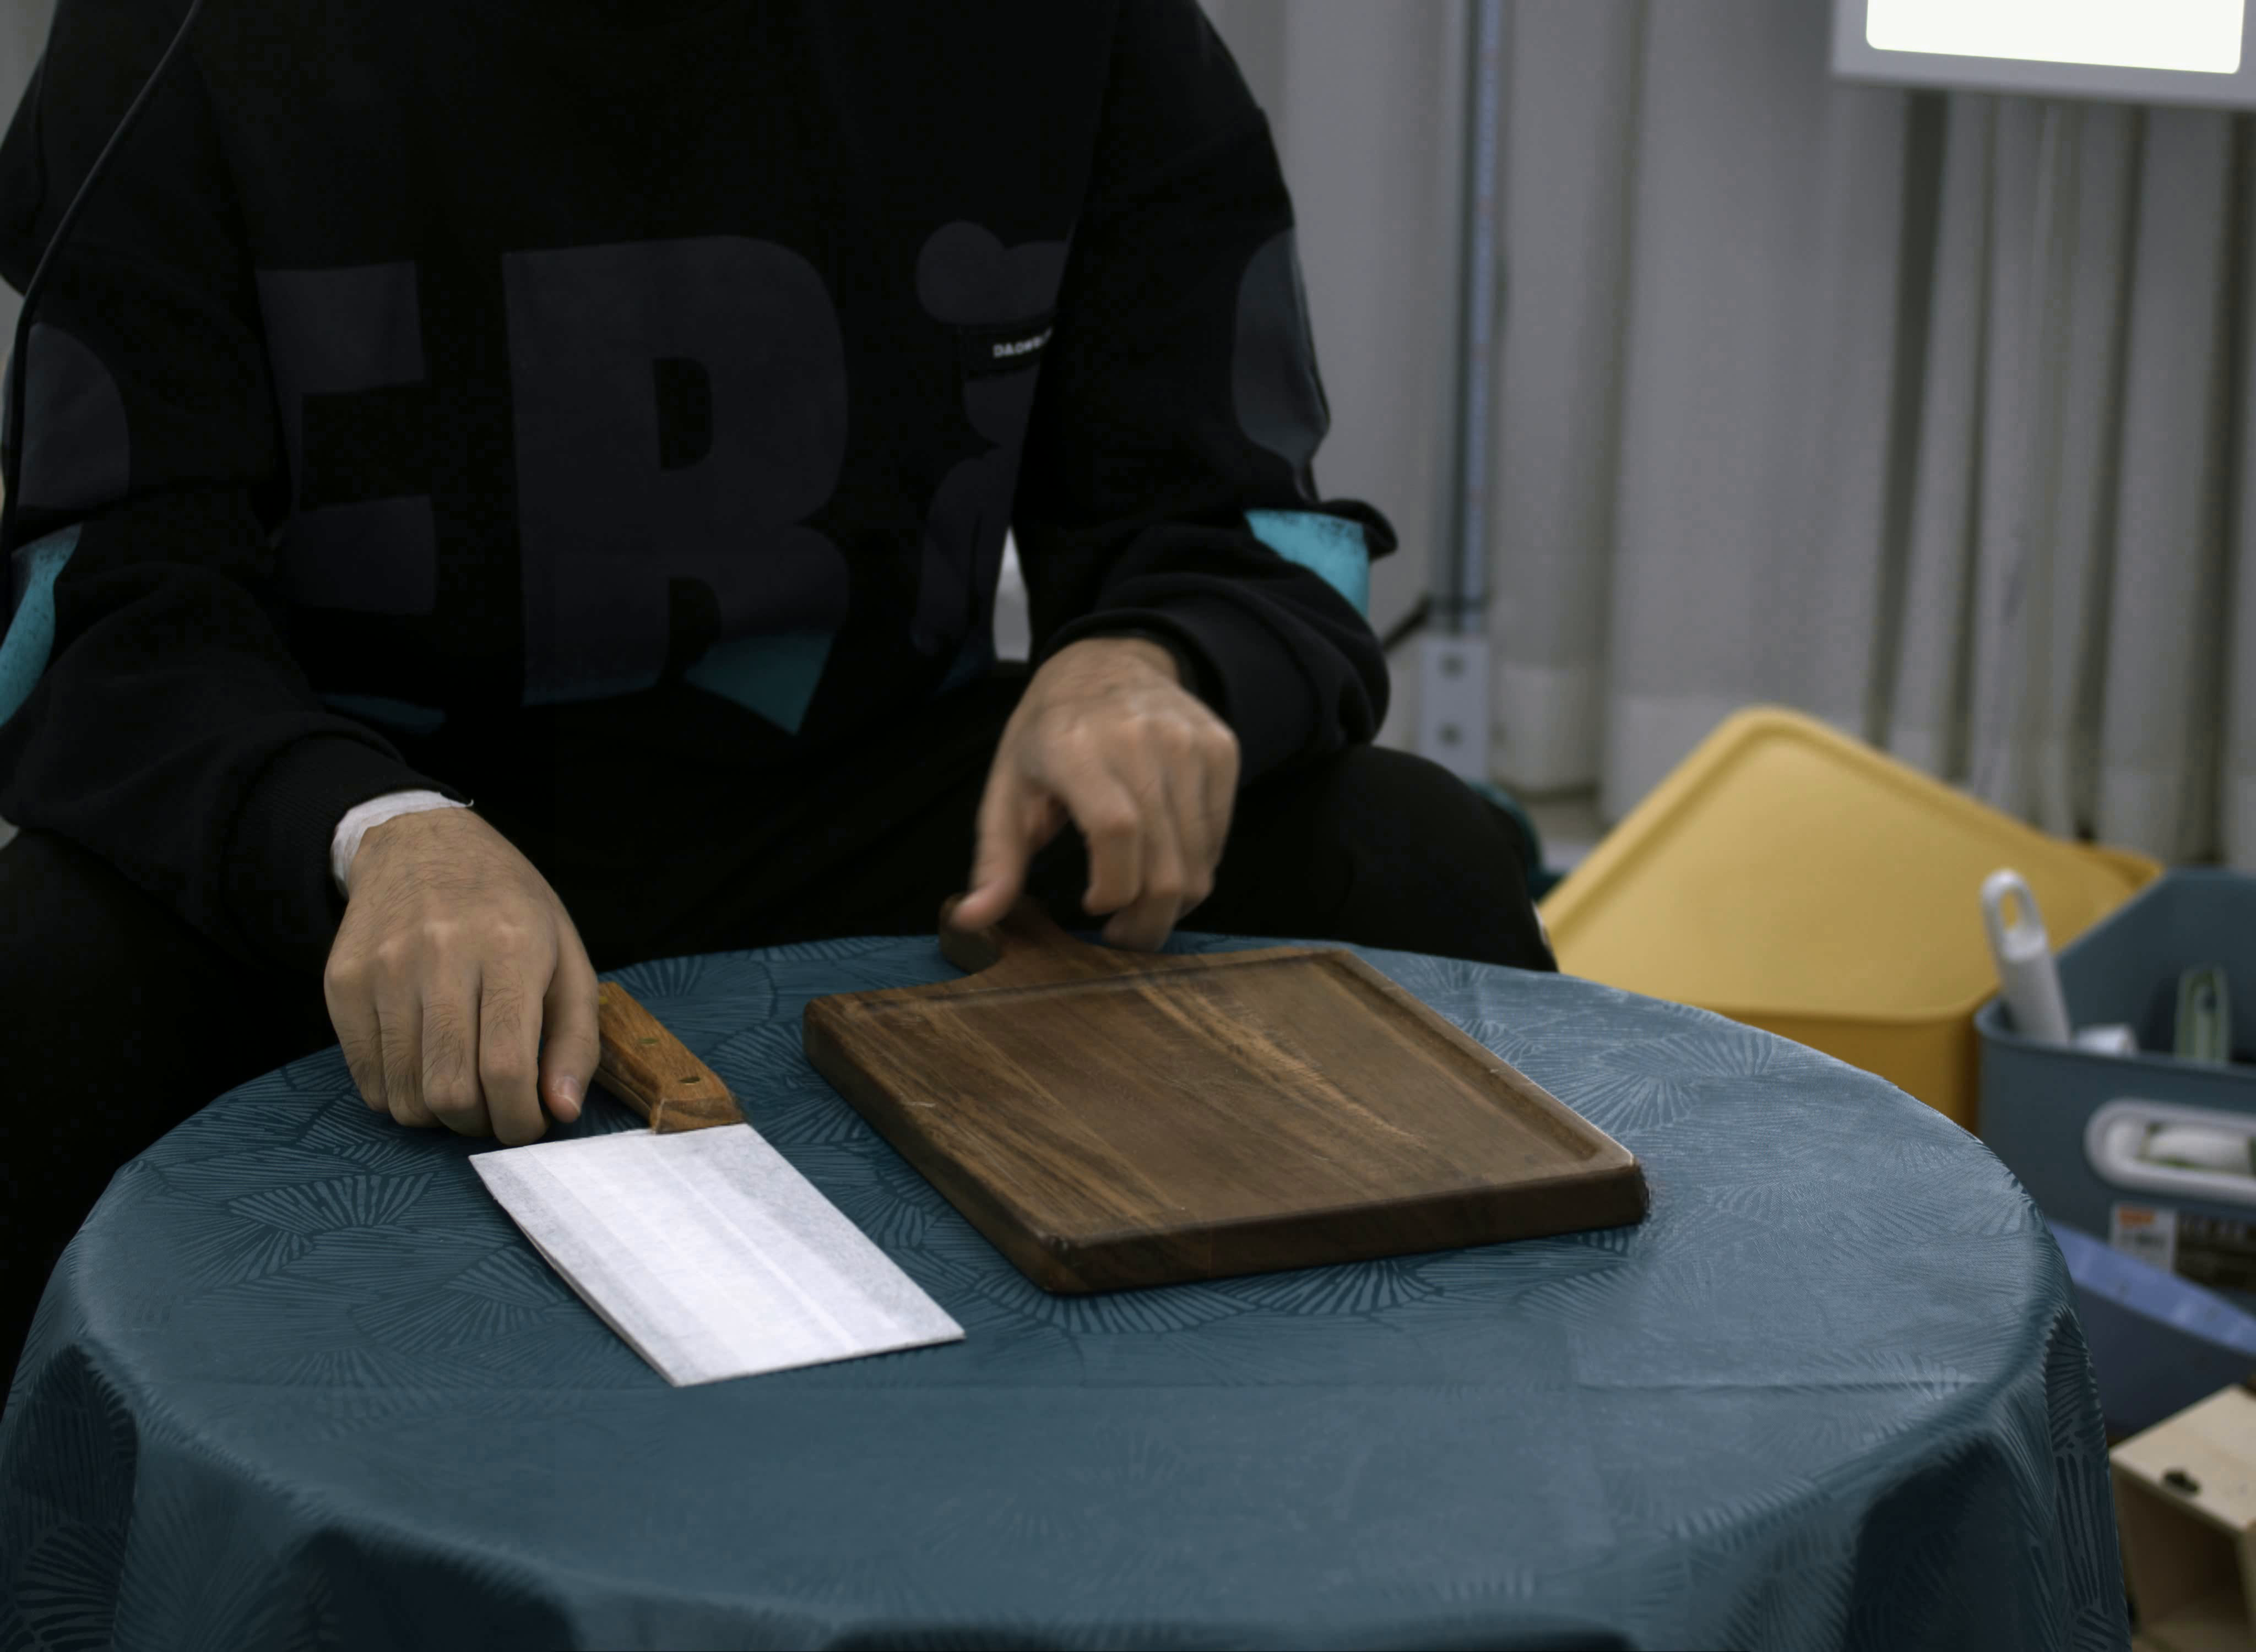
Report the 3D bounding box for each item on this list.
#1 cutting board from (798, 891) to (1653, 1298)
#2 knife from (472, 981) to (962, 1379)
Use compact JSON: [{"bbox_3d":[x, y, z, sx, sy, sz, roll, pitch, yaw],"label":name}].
[{"bbox_3d":[0.008,0.076,1.713,0.201,0.023,0.348,-6,17,-21],"label":"cutting board"},{"bbox_3d":[-0.147,0.107,1.609,0.093,0.021,0.302,-8,20,-23],"label":"knife"}]
